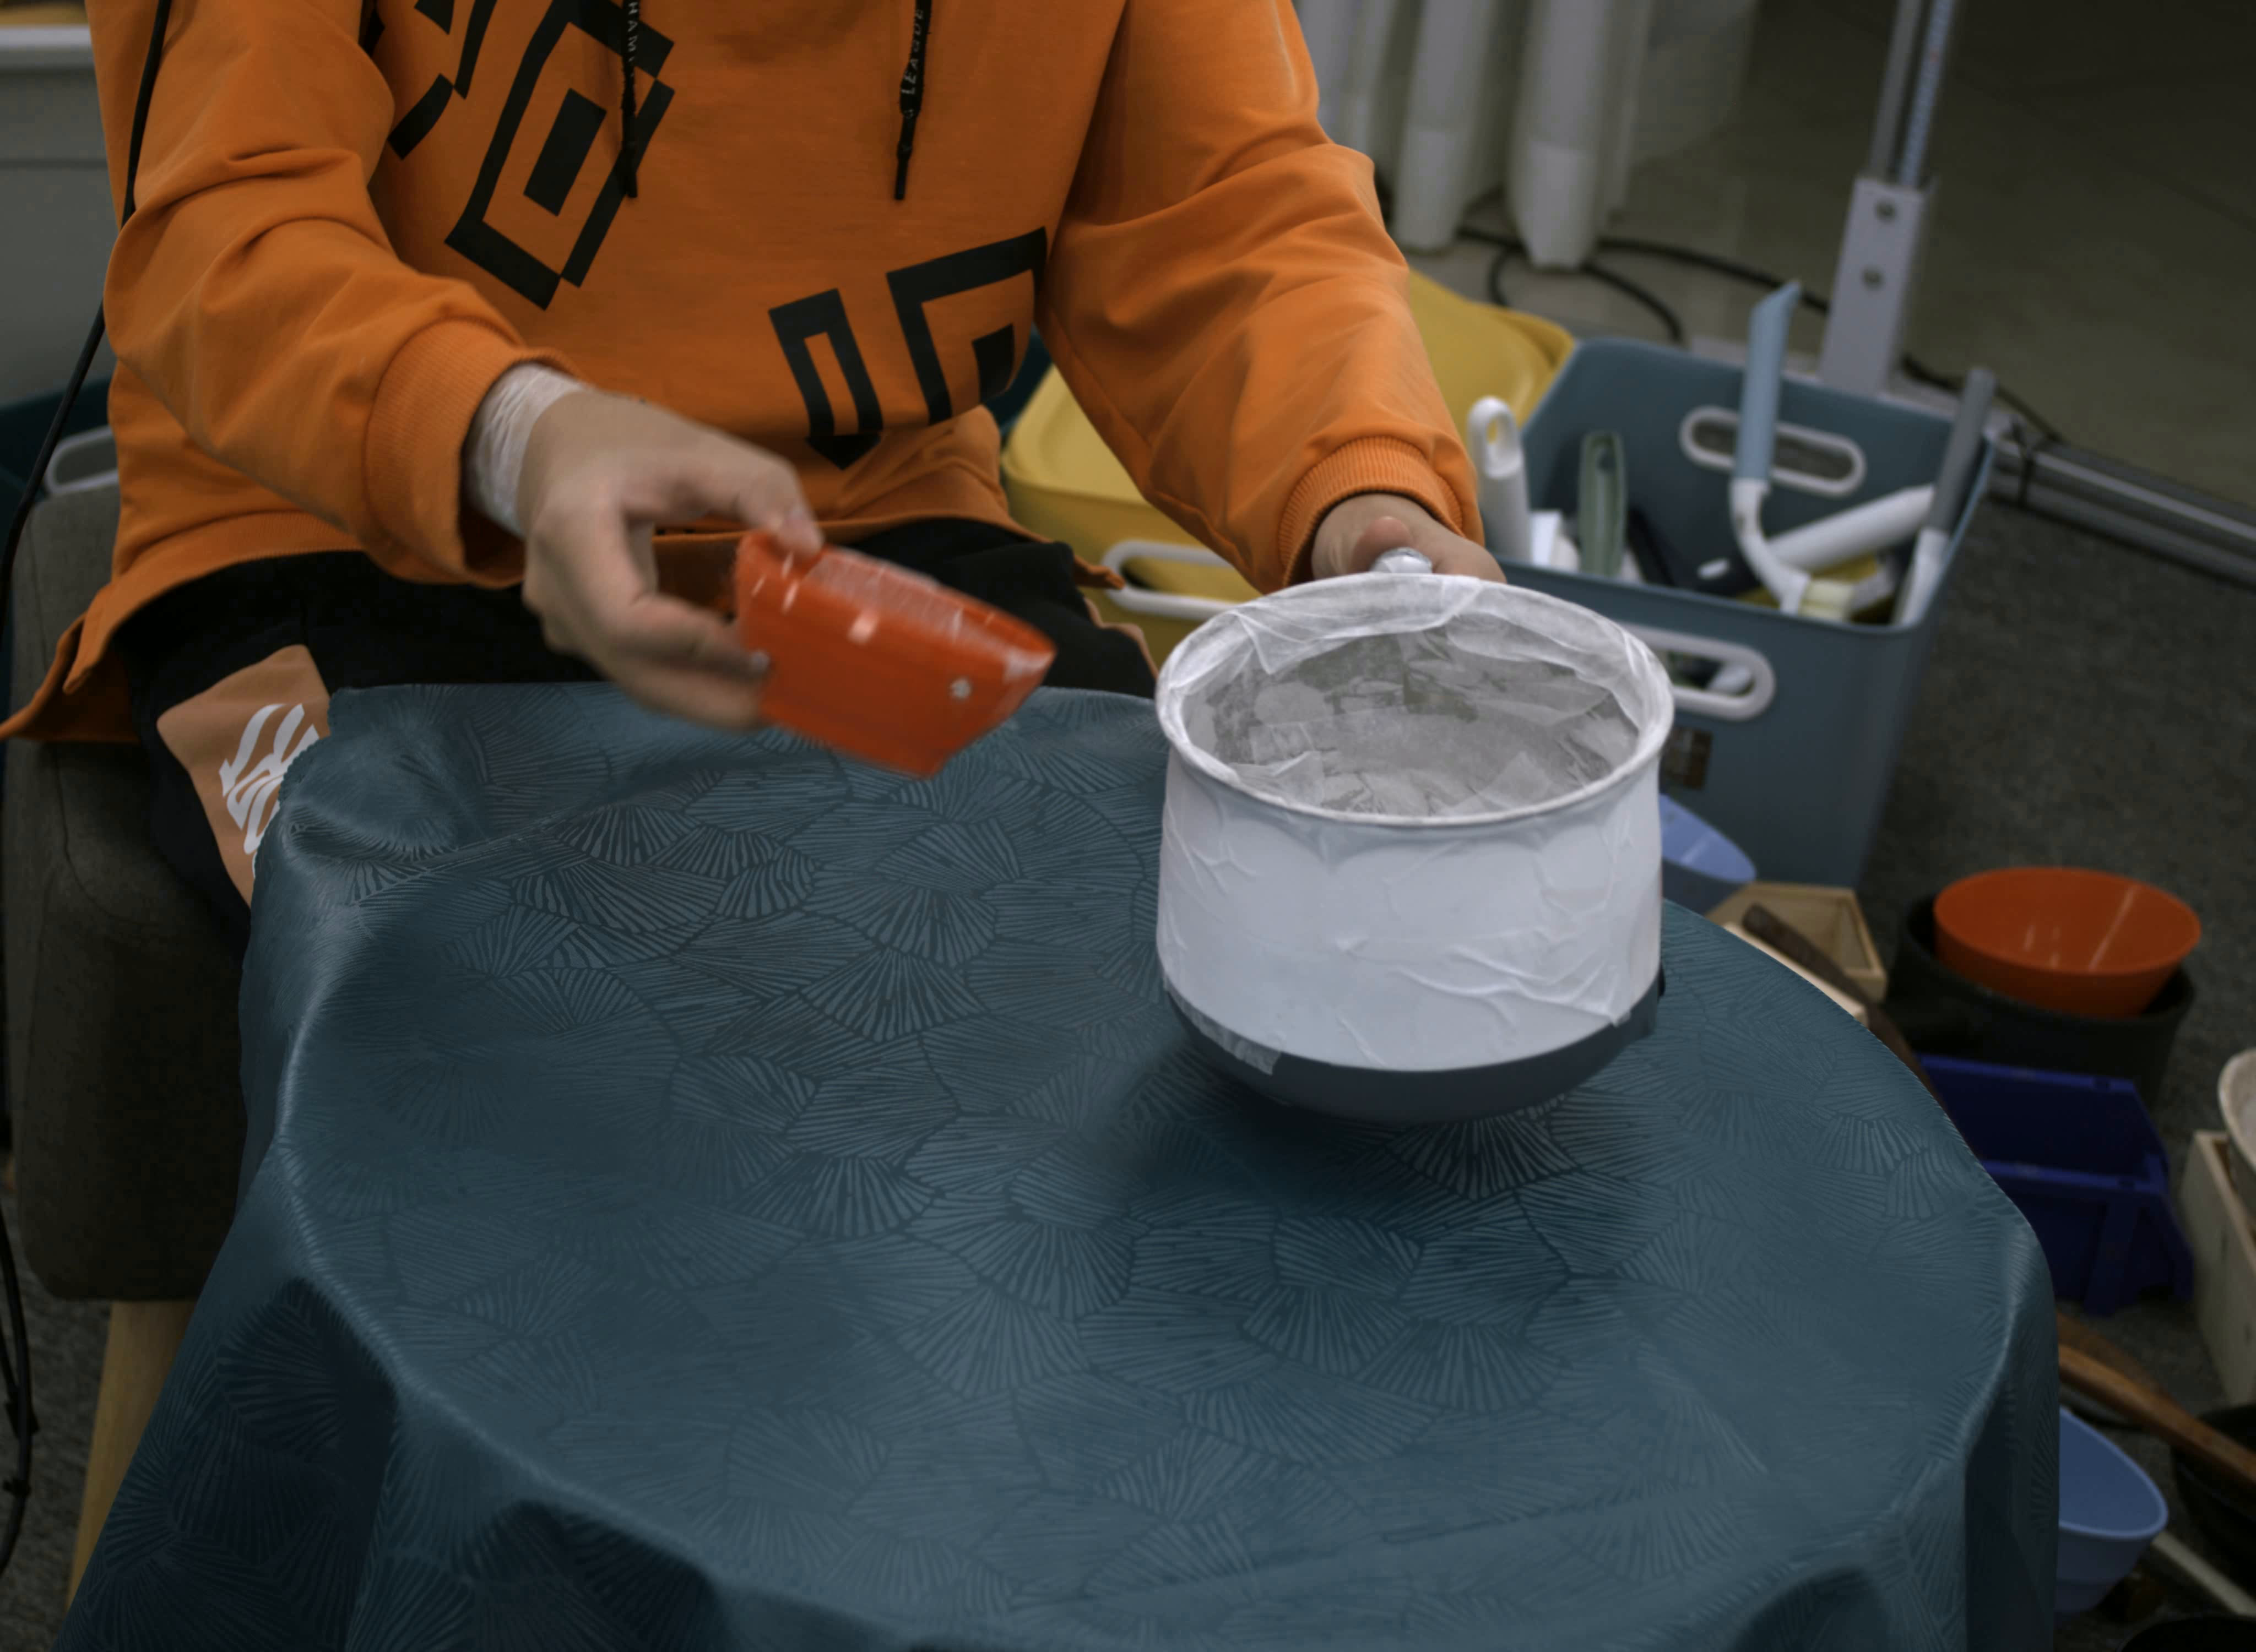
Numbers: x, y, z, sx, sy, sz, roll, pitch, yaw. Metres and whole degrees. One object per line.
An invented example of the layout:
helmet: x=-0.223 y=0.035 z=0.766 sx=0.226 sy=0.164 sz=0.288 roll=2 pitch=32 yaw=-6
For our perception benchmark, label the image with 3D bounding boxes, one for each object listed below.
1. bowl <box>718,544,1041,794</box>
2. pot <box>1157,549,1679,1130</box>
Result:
bowl: x=-0.088 y=-0.048 z=1.743 sx=0.118 sy=0.051 sz=0.119 roll=20 pitch=10 yaw=-4
pot: x=0.097 y=-0.003 z=1.860 sx=0.178 sy=0.136 sz=0.235 roll=0 pitch=30 yaw=-1
